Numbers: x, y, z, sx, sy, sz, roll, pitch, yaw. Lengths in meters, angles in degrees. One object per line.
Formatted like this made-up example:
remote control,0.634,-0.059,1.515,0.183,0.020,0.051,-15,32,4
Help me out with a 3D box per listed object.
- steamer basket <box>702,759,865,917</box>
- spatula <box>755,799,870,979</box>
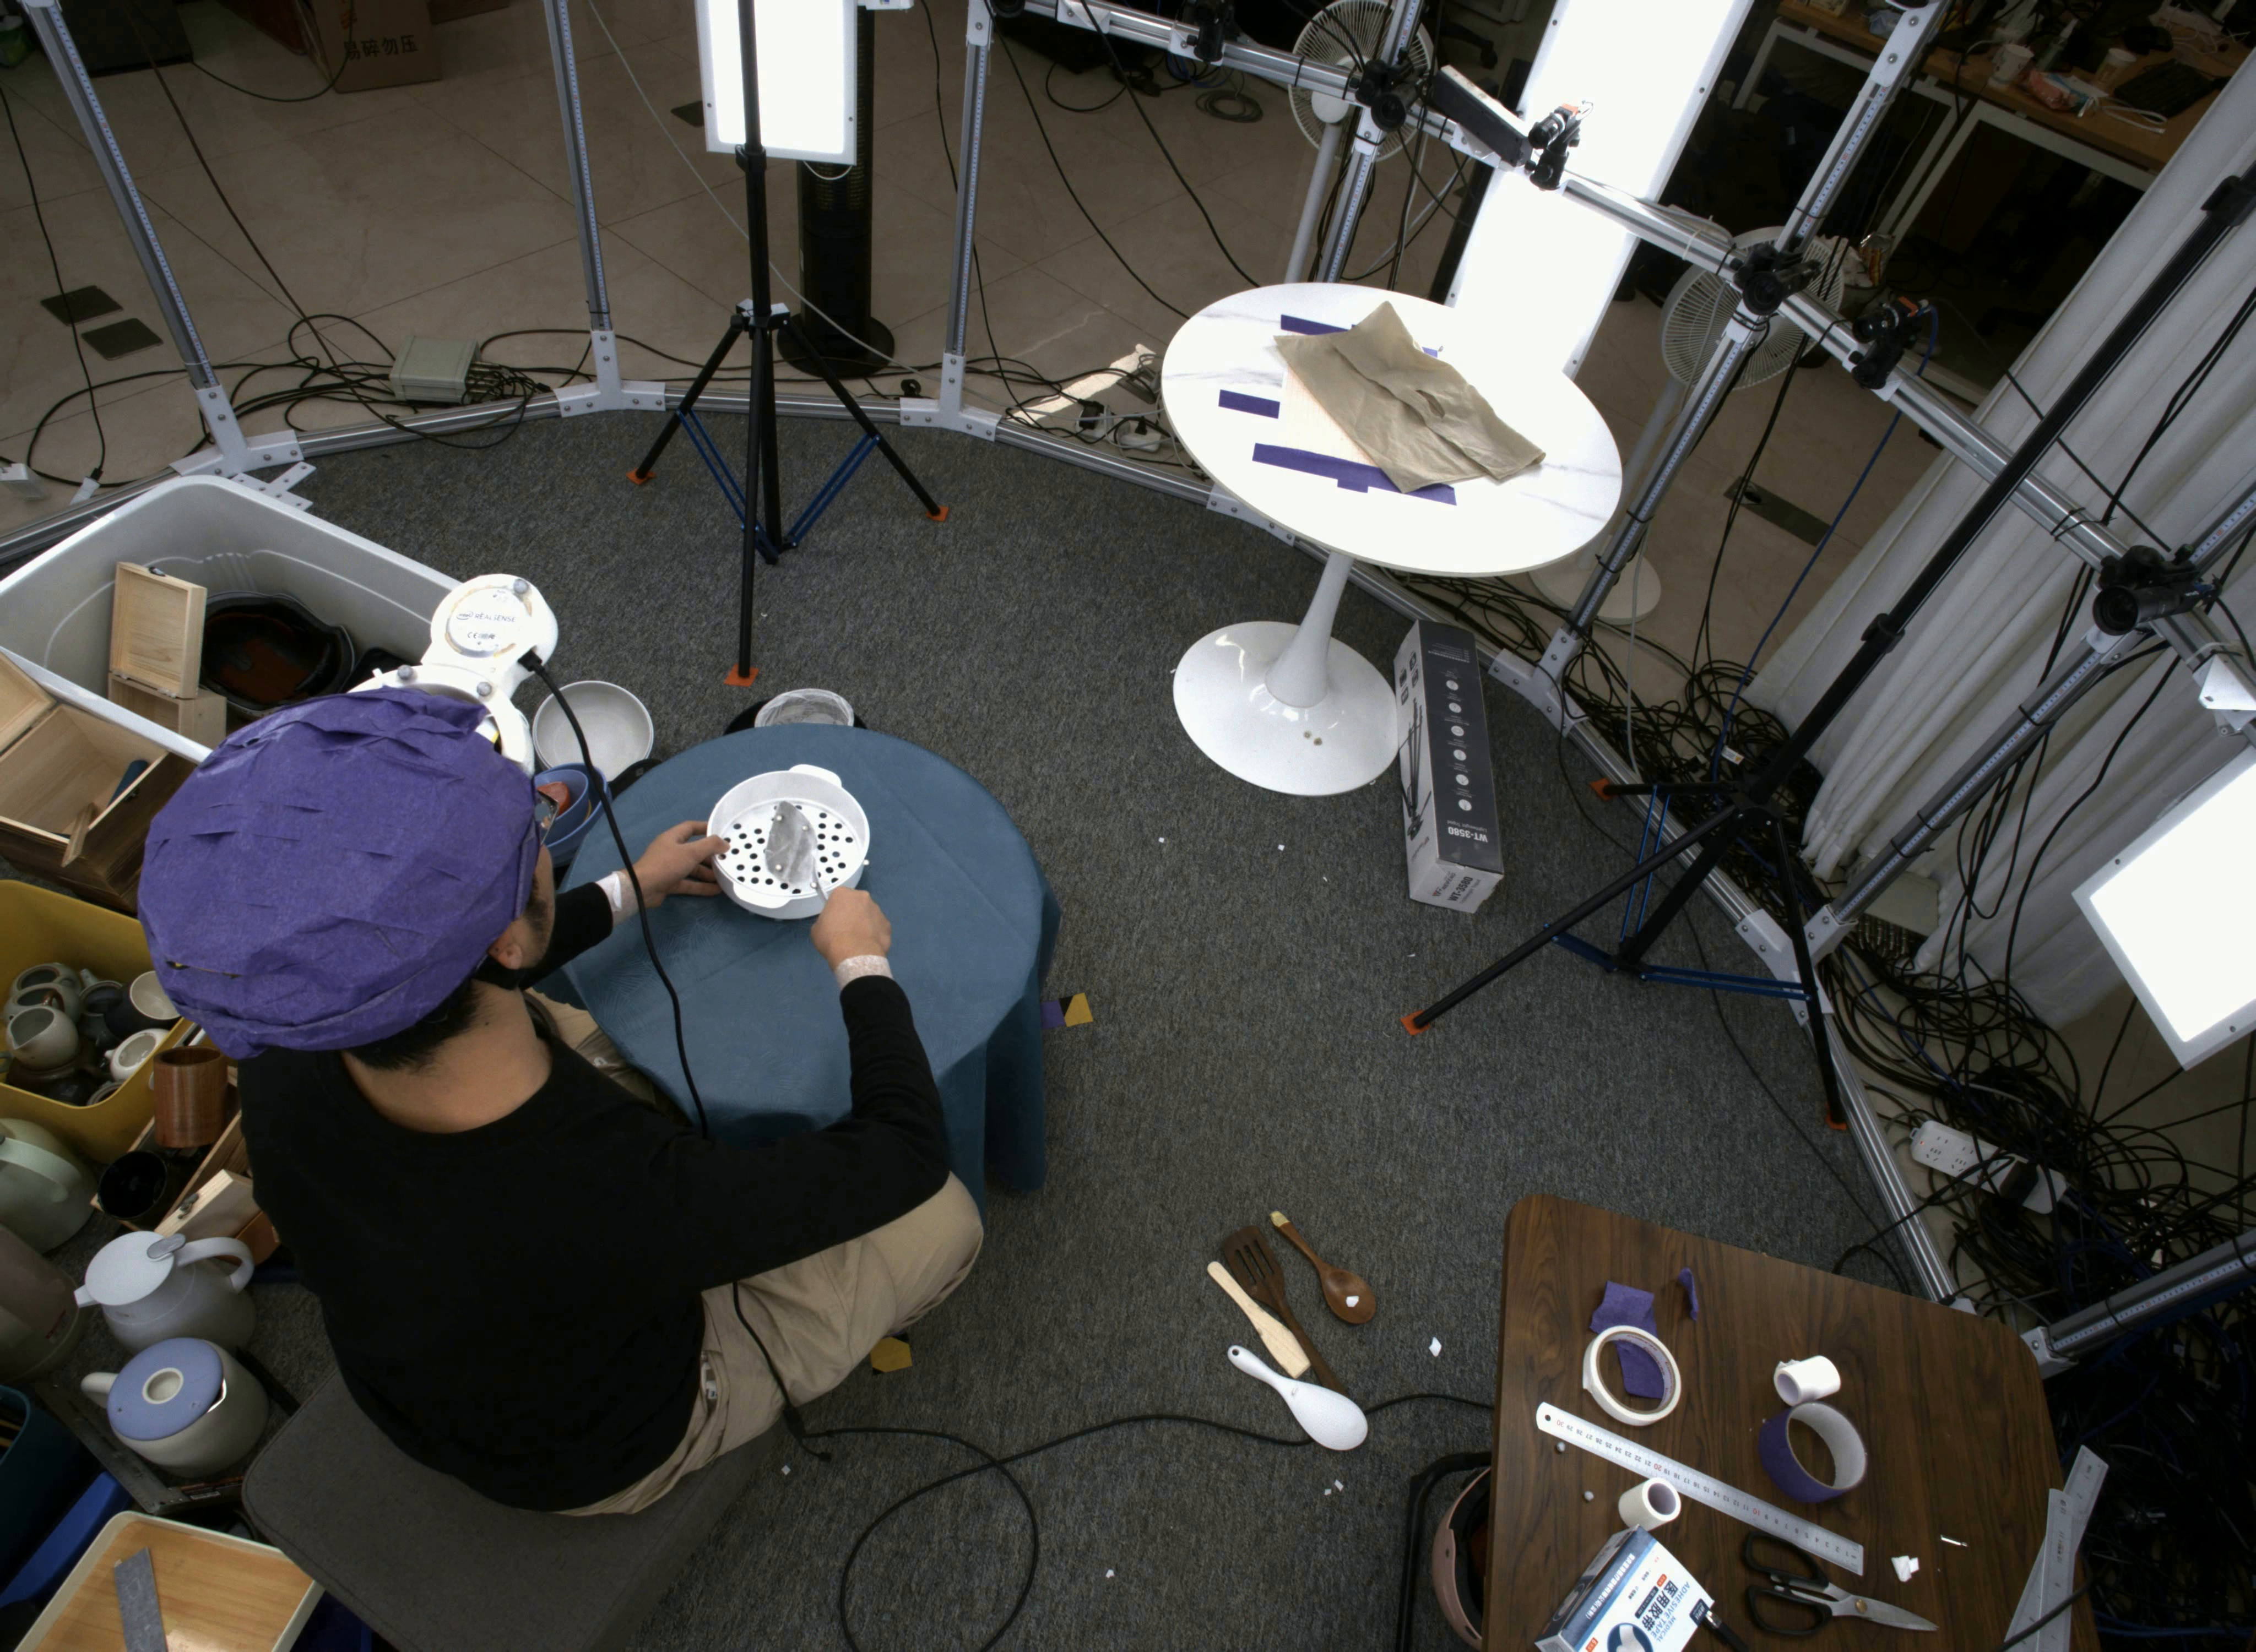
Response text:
steamer basket,-0.438,0.020,1.652,0.201,0.070,0.227,17,52,-4
spatula,-0.372,0.077,1.523,0.045,0.100,0.351,9,20,-33
